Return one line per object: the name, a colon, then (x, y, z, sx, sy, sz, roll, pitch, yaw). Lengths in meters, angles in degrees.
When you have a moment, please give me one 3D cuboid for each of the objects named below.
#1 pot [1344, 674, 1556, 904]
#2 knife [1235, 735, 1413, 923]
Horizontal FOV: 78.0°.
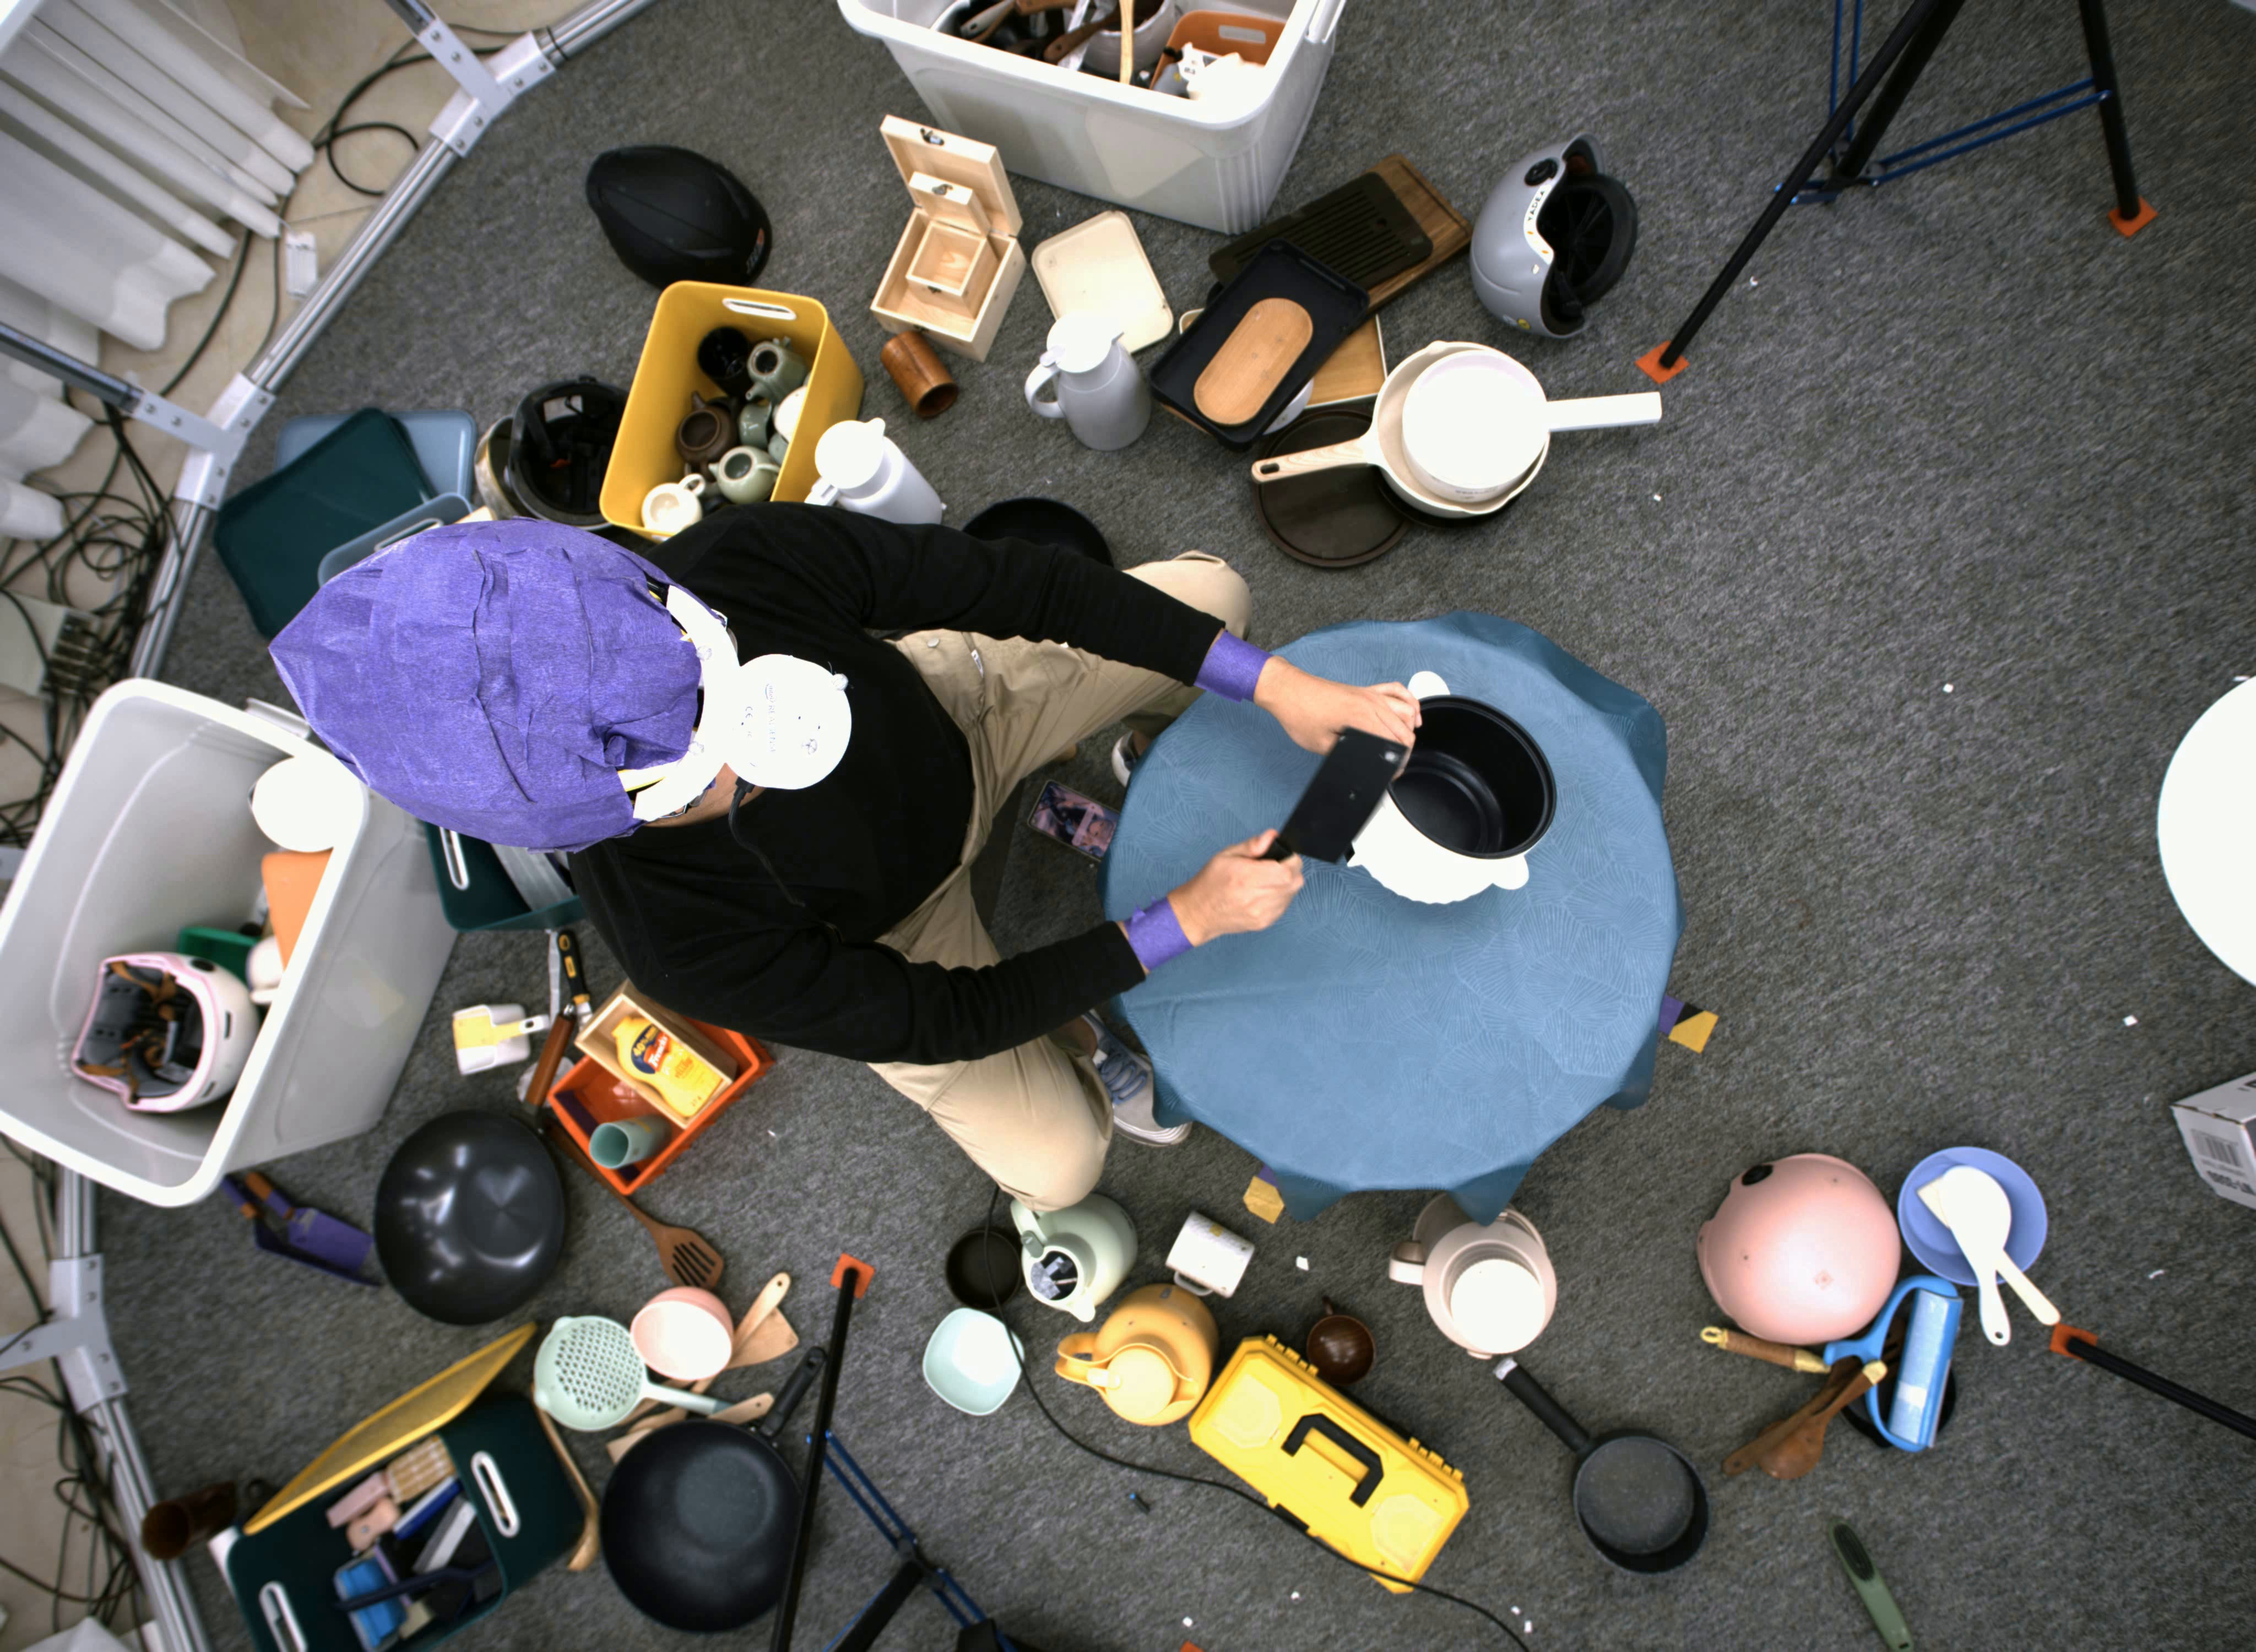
pot: (0.315, -0.022, 1.365, 0.189, 0.145, 0.236, -12, 68, -16)
knife: (0.172, 0.011, 1.282, 0.081, 0.310, 0.020, 21, 53, -10)
